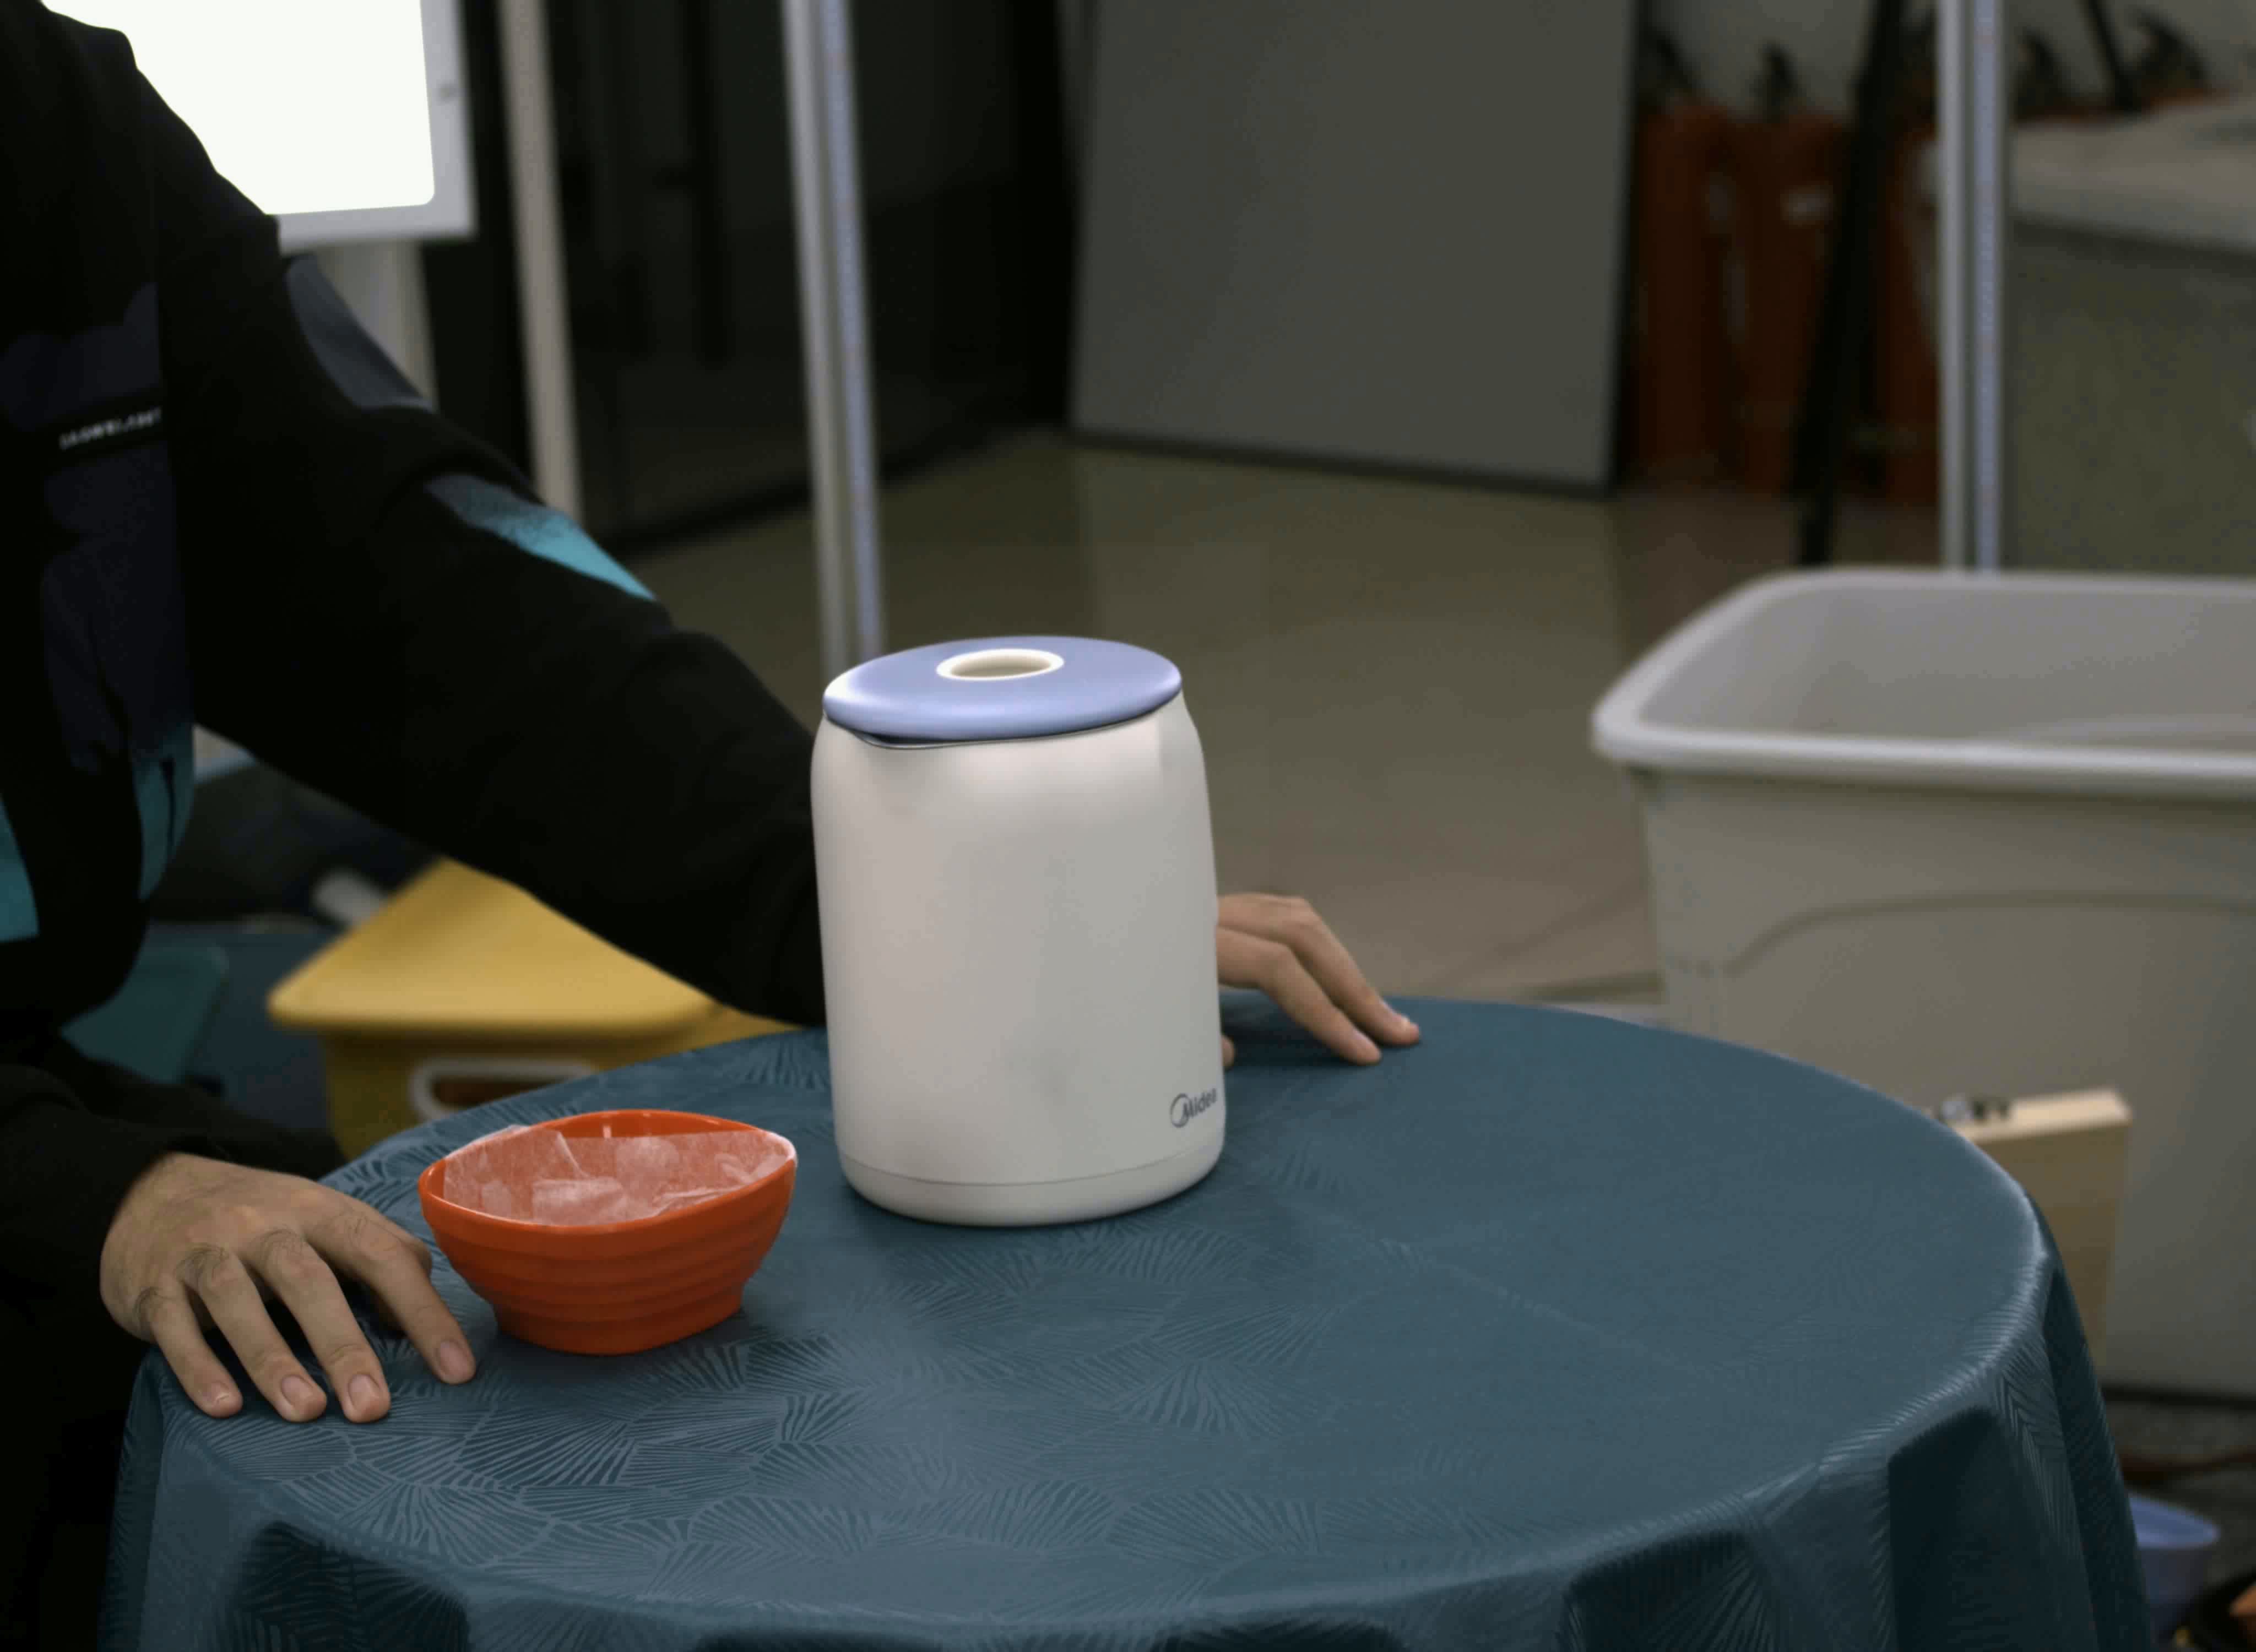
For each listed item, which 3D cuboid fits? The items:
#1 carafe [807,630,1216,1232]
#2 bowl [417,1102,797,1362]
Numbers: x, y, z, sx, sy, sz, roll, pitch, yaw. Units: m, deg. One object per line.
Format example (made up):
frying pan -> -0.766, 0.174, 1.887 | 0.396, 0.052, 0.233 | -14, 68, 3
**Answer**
carafe -> -0.026, 0.028, 1.799 | 0.133, 0.184, 0.188 | 5, 14, 29
bowl -> -0.160, 0.128, 1.678 | 0.117, 0.052, 0.119 | -4, 16, 0
